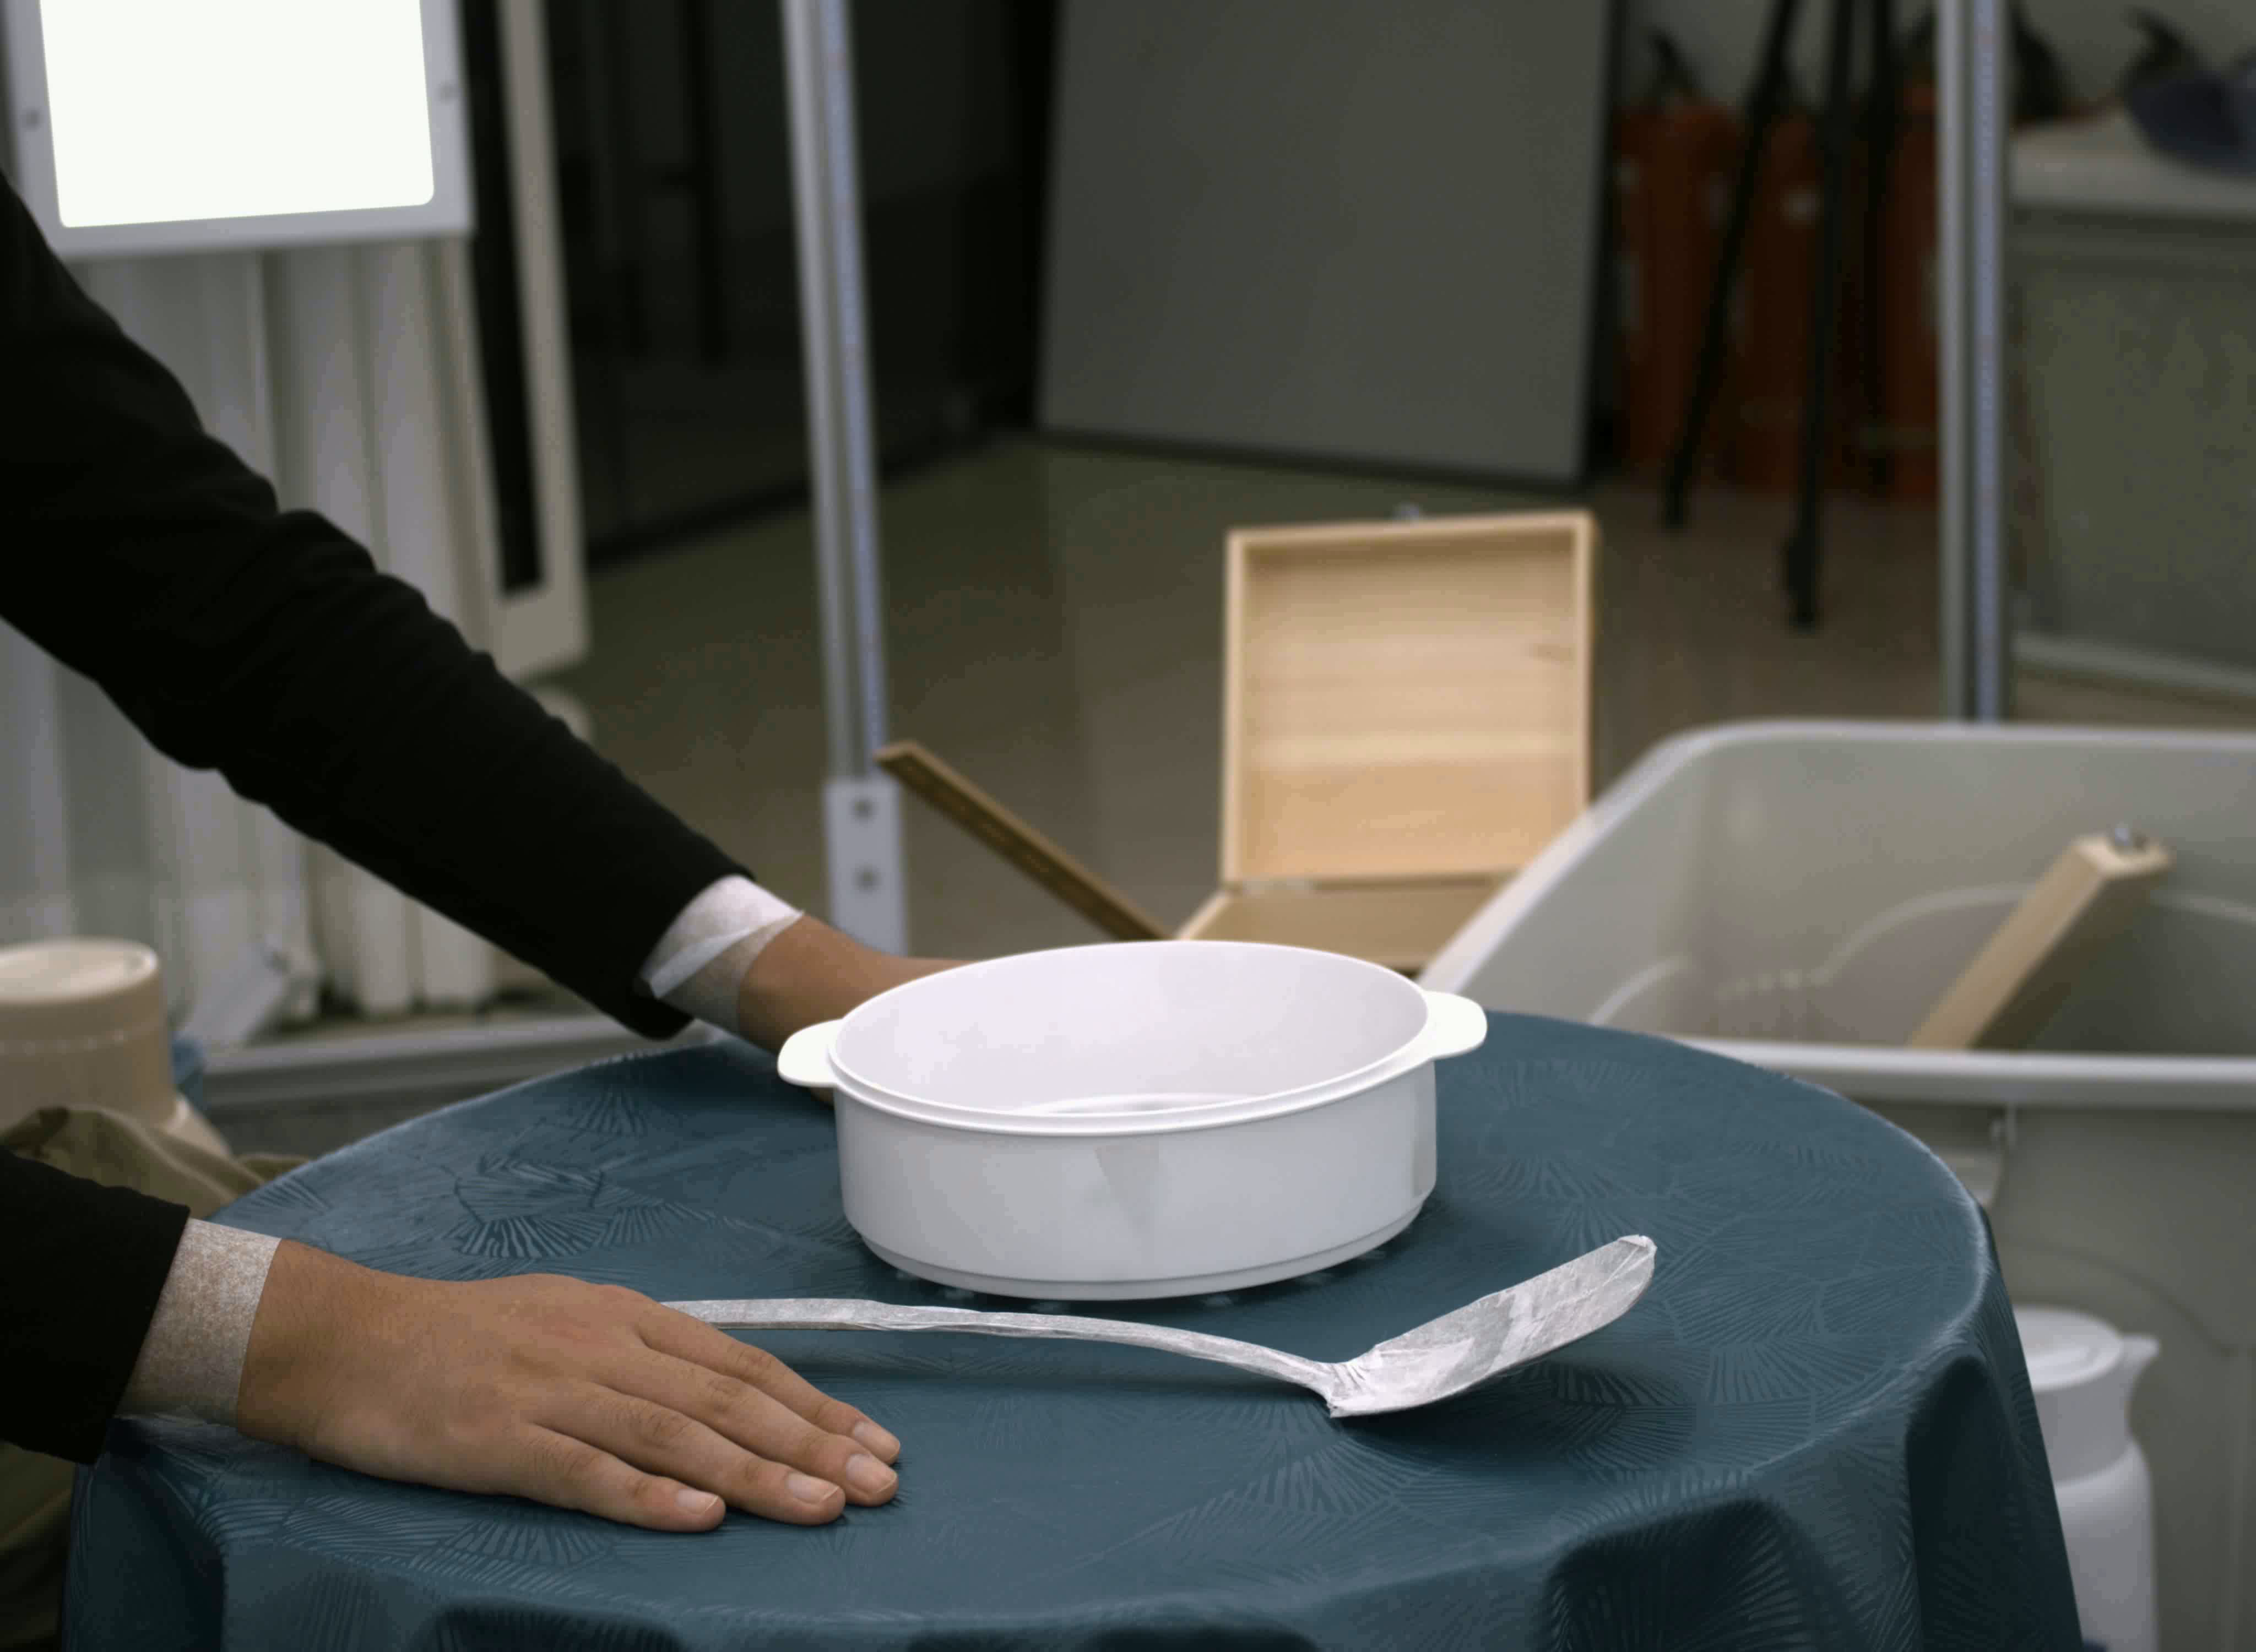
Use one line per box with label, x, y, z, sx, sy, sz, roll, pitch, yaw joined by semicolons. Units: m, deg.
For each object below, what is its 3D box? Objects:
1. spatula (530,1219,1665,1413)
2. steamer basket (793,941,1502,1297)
spatula;-0.019;0.145;1.600;0.364;0.045;0.098;1;16;20
steamer basket;0.008;0.094;1.731;0.228;0.070;0.201;-4;13;5
